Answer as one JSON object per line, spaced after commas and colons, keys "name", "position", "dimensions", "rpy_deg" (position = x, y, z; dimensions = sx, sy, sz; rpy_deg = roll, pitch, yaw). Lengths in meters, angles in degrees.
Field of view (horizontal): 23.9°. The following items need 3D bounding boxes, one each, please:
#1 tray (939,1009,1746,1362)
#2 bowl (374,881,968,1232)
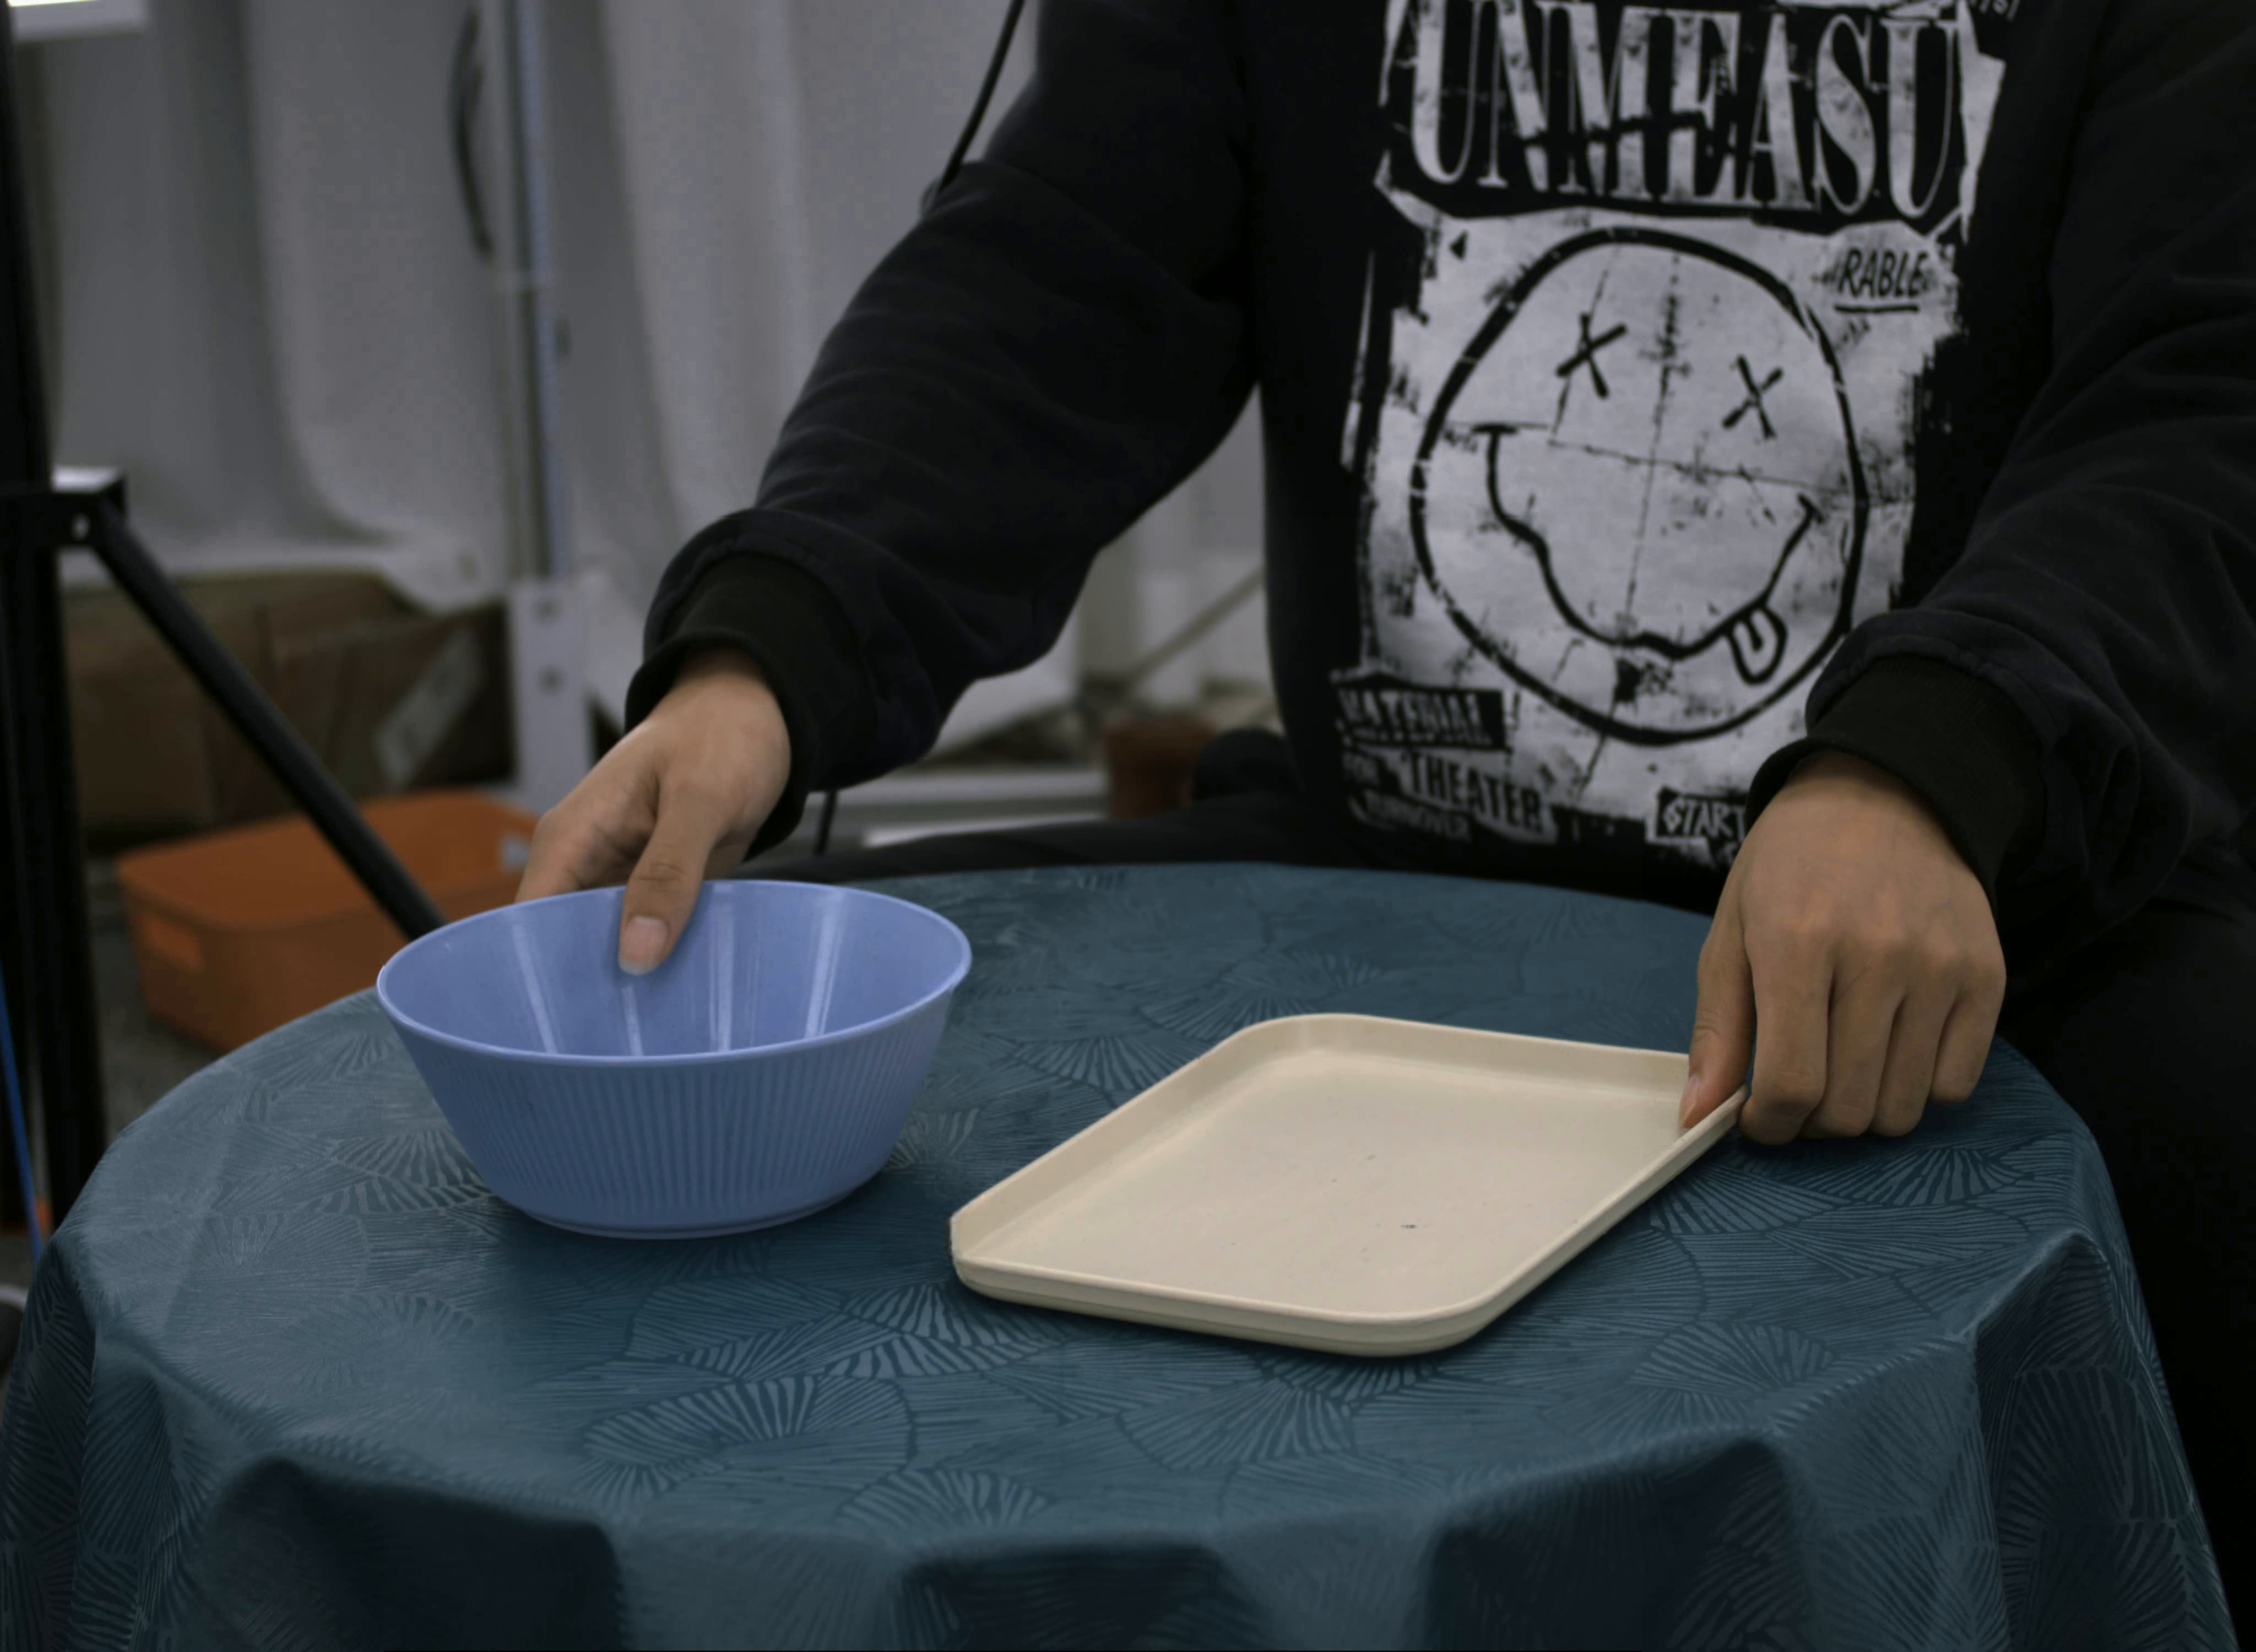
{"name": "tray", "position": [0.066, 0.103, 1.533], "dimensions": [0.174, 0.017, 0.235], "rpy_deg": [7, 18, 29]}
{"name": "bowl", "position": [-0.134, 0.071, 1.582], "dimensions": [0.175, 0.070, 0.177], "rpy_deg": [-2, 16, -1]}
